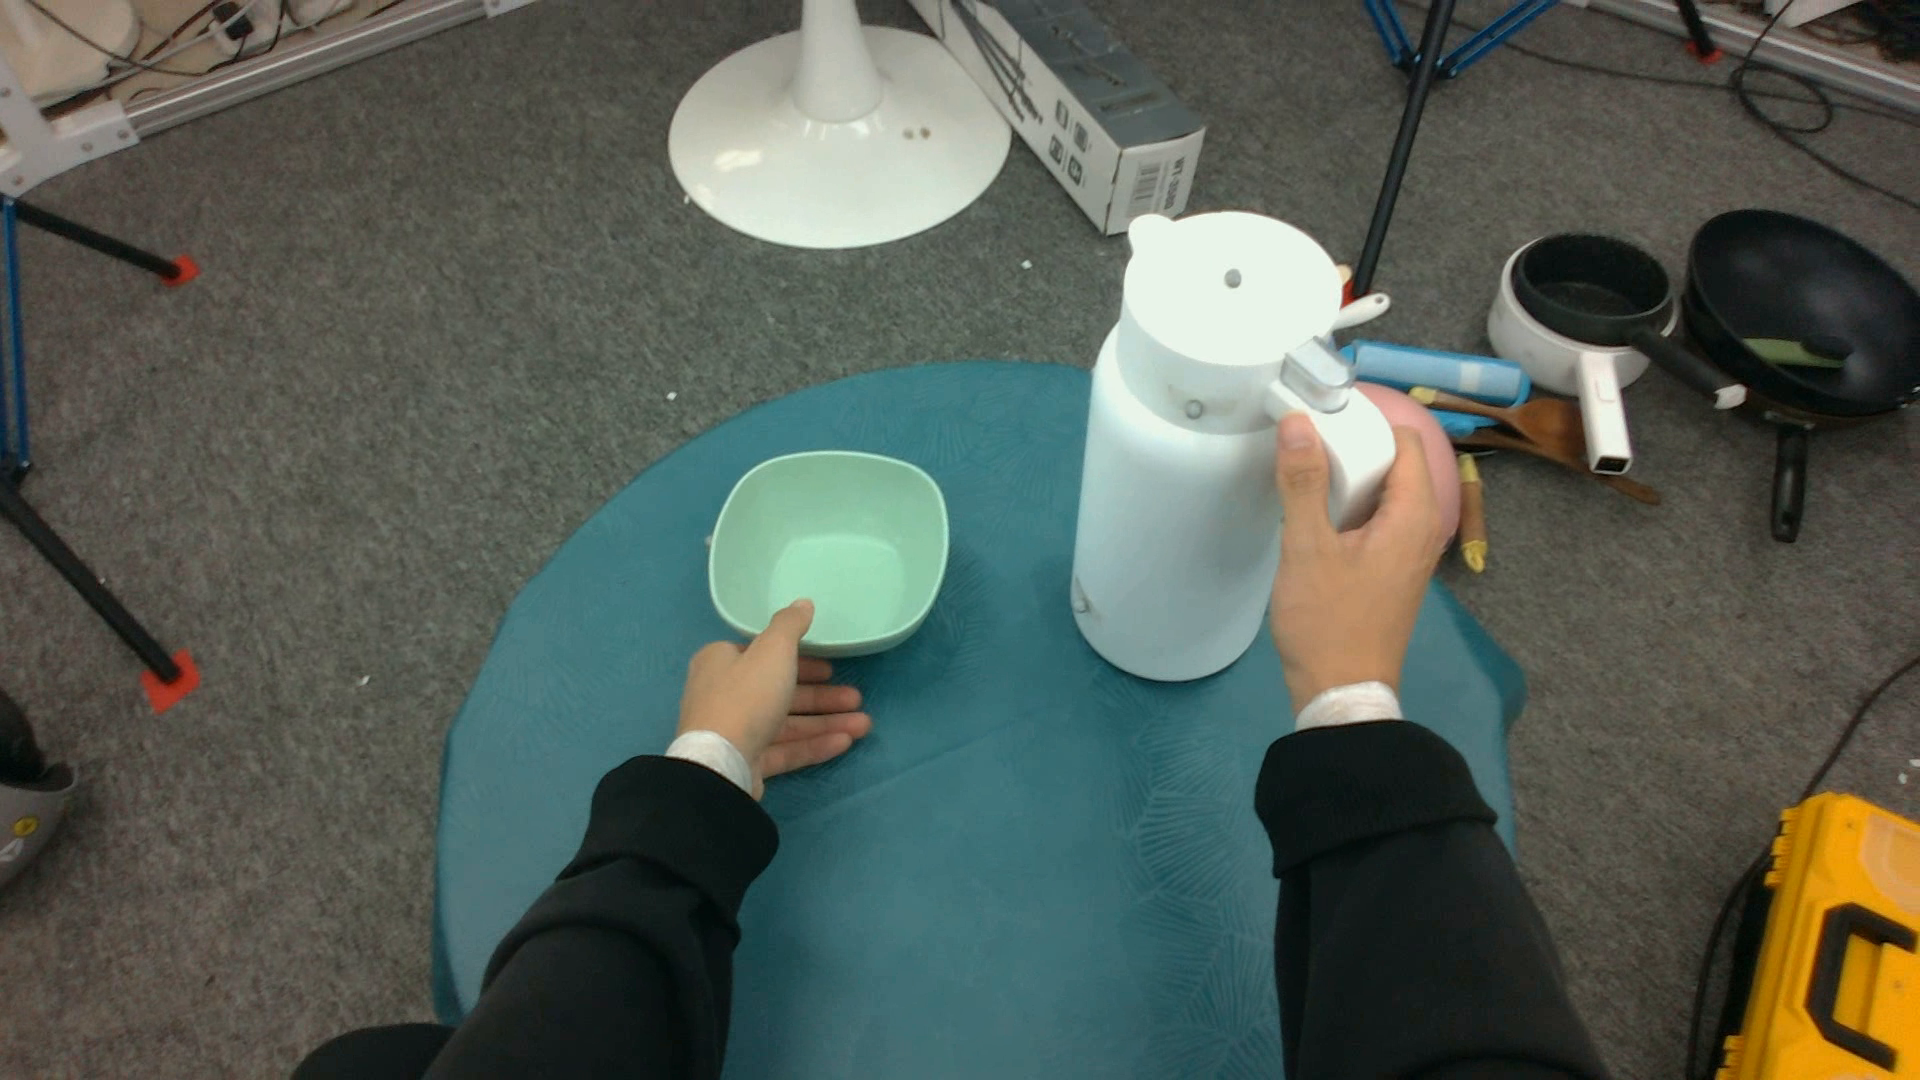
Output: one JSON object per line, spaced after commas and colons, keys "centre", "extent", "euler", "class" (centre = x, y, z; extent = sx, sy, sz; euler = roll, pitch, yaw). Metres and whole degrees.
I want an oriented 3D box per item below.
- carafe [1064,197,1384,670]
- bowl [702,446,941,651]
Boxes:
{"centre": [0.131, -0.034, 0.728], "extent": [0.124, 0.267, 0.173], "euler": [-30, 59, -22], "class": "carafe"}
{"centre": [-0.080, 0.014, 0.824], "extent": [0.151, 0.058, 0.152], "euler": [0, 54, 0], "class": "bowl"}
